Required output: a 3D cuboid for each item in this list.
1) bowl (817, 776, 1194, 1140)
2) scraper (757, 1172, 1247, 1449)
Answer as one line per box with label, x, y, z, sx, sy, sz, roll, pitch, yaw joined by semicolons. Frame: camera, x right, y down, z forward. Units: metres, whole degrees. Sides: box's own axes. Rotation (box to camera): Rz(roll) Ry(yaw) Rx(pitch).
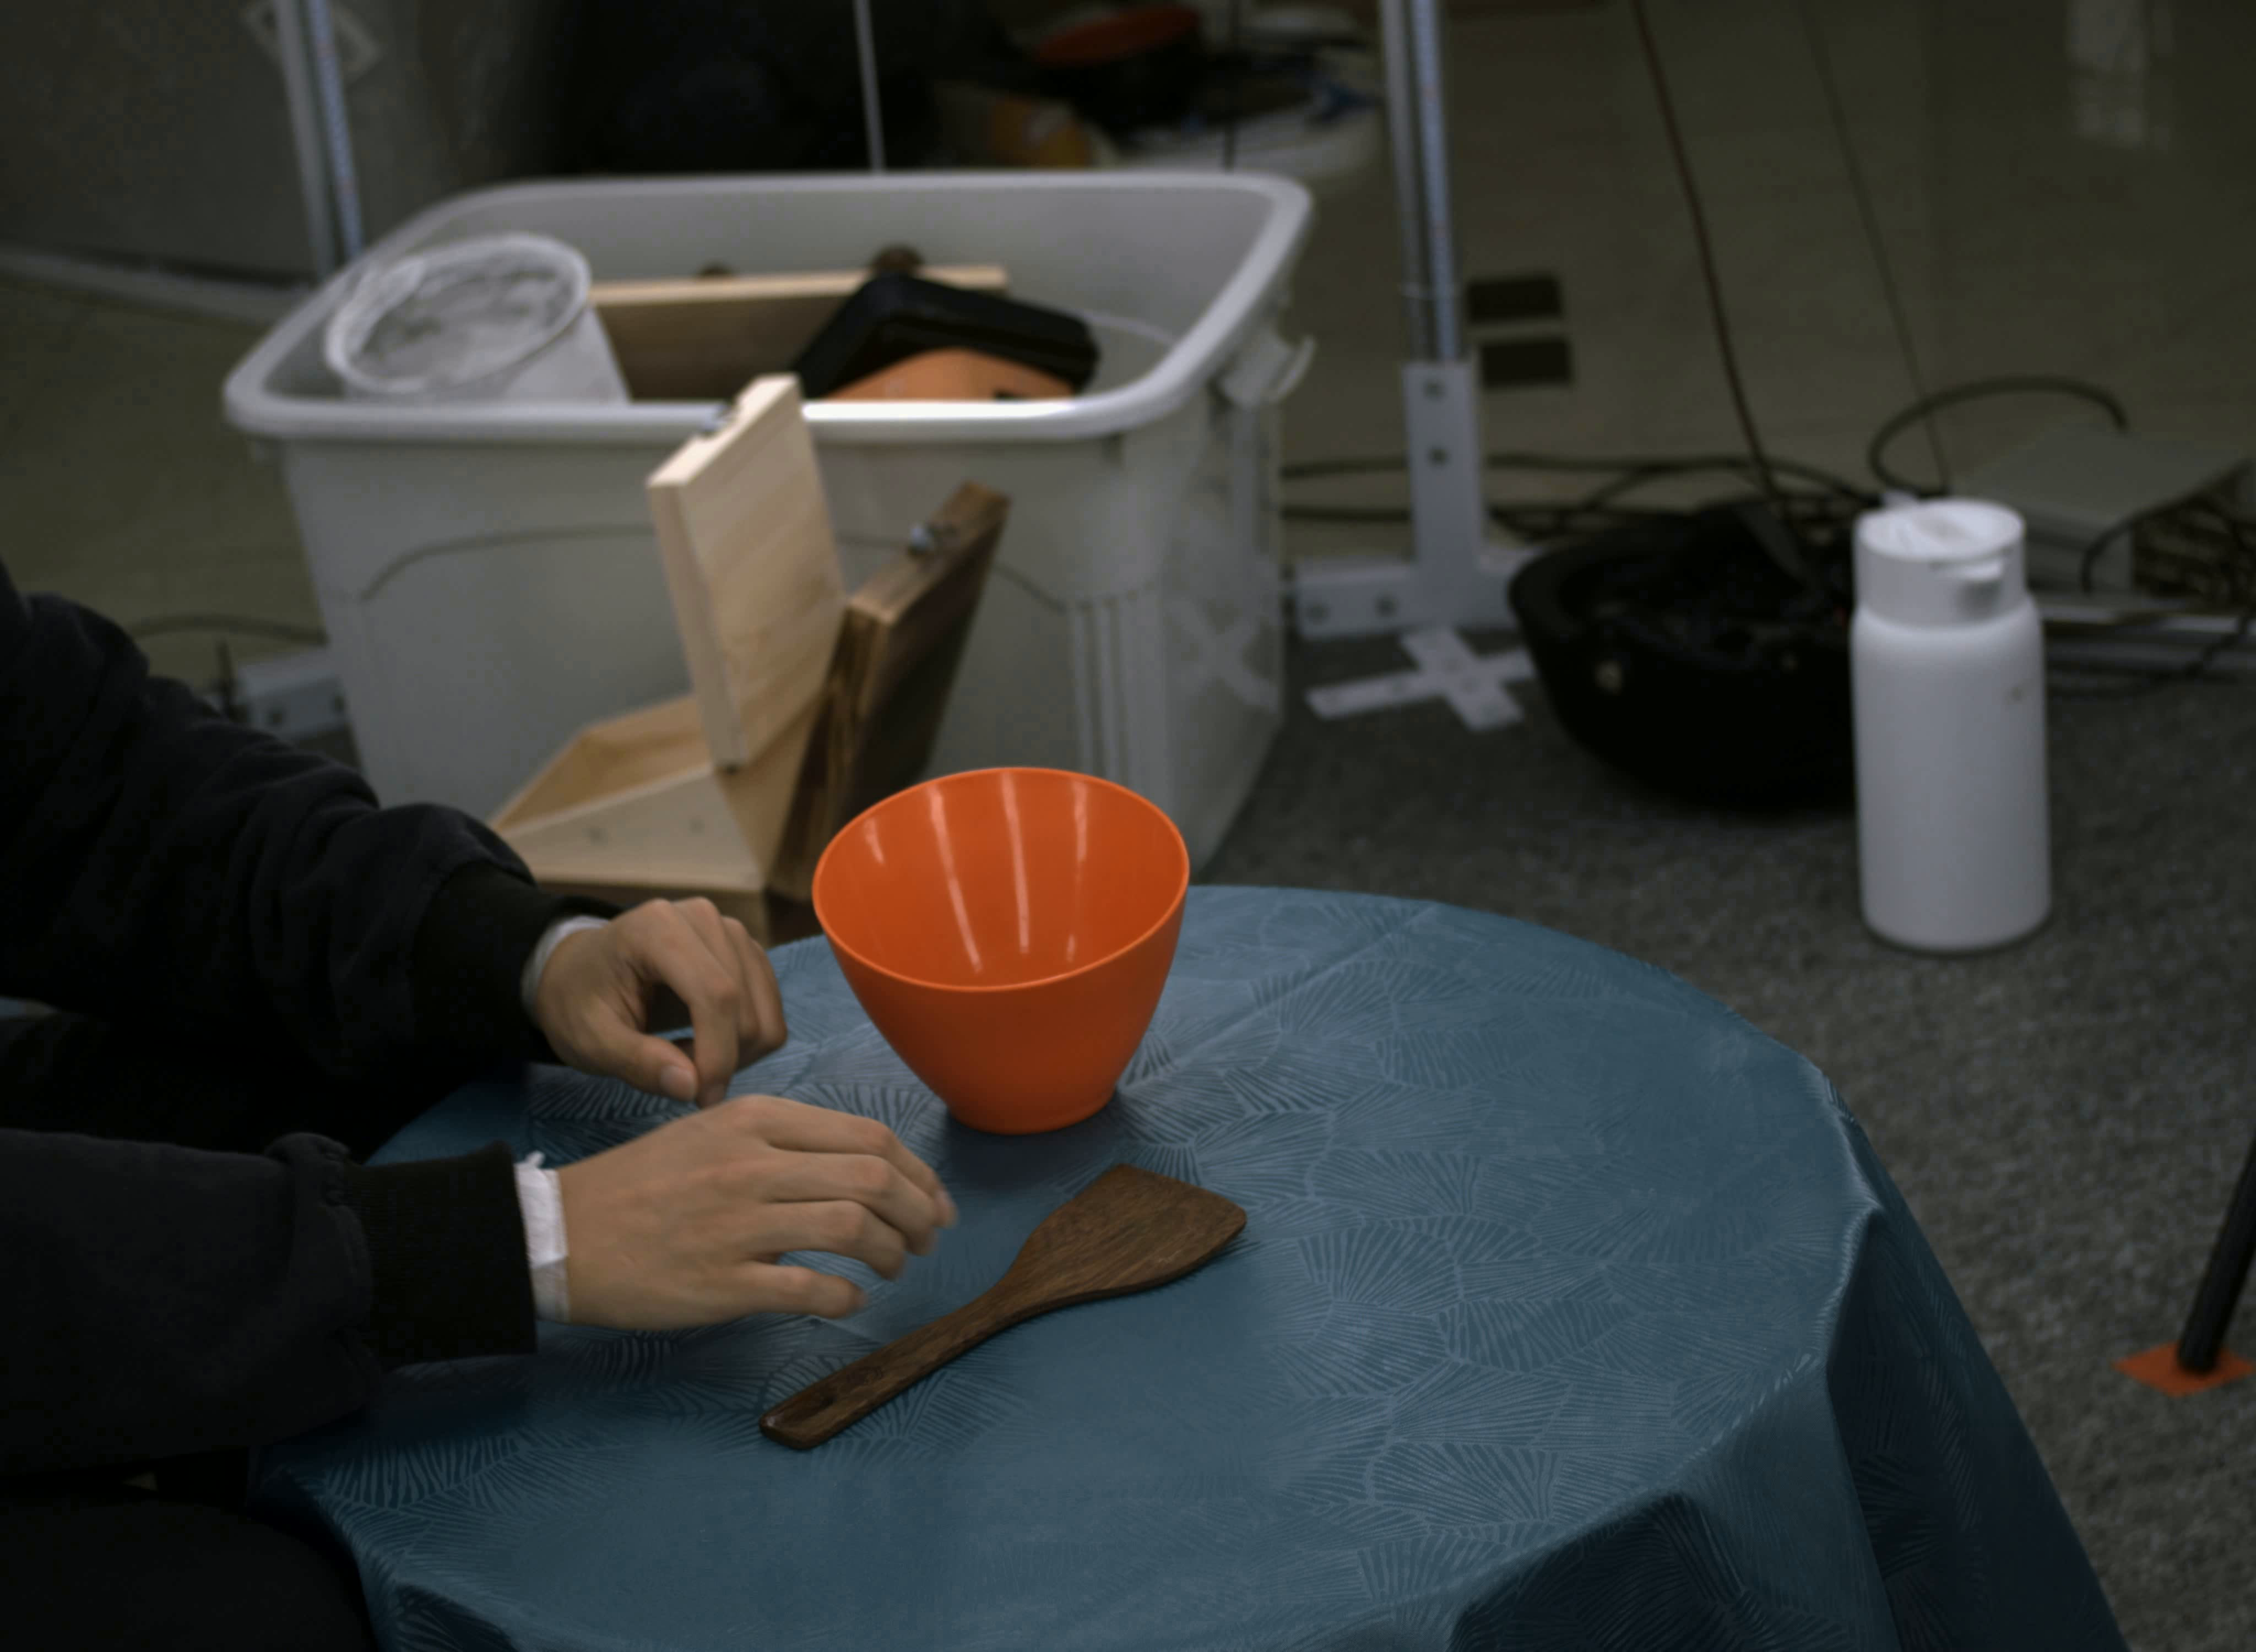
bowl;-0.044;0.058;2.218;0.148;0.106;0.146;-5;25;2
scraper;-0.050;0.179;2.071;0.209;0.011;0.075;-27;31;-36
